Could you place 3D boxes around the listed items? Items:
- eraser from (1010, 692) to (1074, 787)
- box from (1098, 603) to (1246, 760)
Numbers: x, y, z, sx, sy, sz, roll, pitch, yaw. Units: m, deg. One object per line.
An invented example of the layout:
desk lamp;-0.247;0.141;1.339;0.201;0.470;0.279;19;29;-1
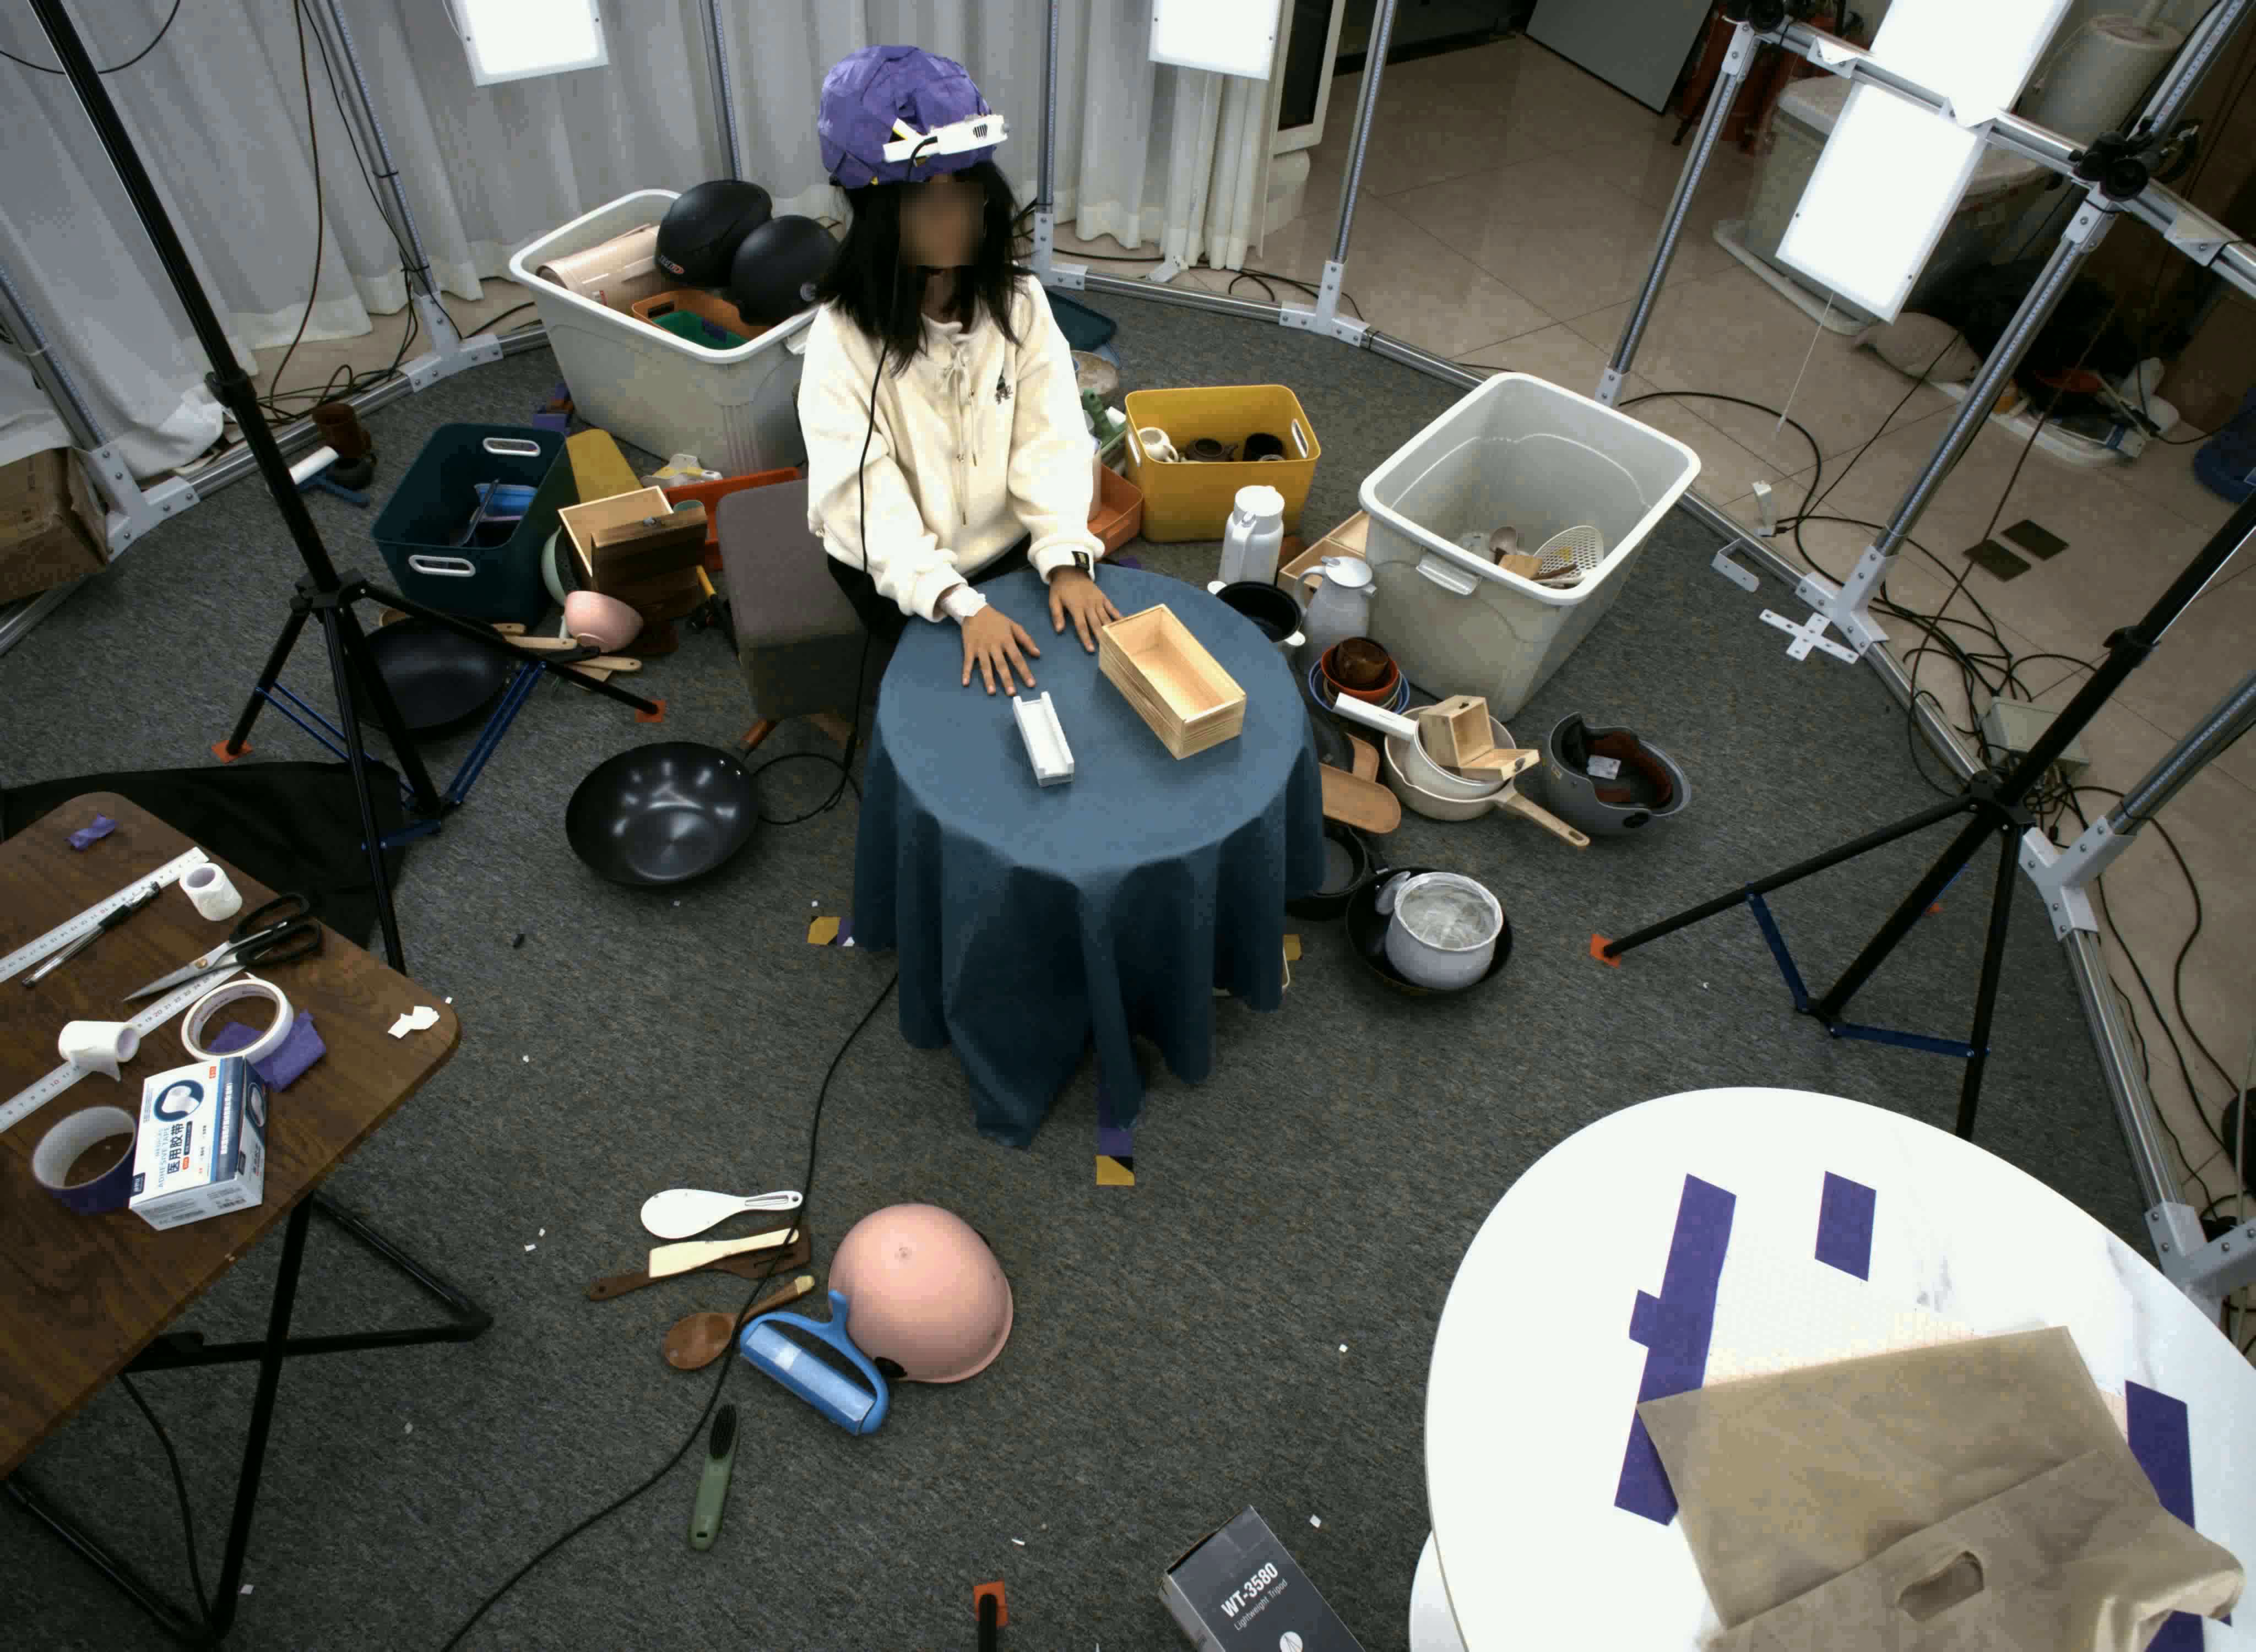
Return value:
eraser;-0.117;-0.118;1.734;0.050;0.045;0.137;-14;53;-13
box;0.058;-0.206;1.802;0.108;0.078;0.216;-23;55;-23
